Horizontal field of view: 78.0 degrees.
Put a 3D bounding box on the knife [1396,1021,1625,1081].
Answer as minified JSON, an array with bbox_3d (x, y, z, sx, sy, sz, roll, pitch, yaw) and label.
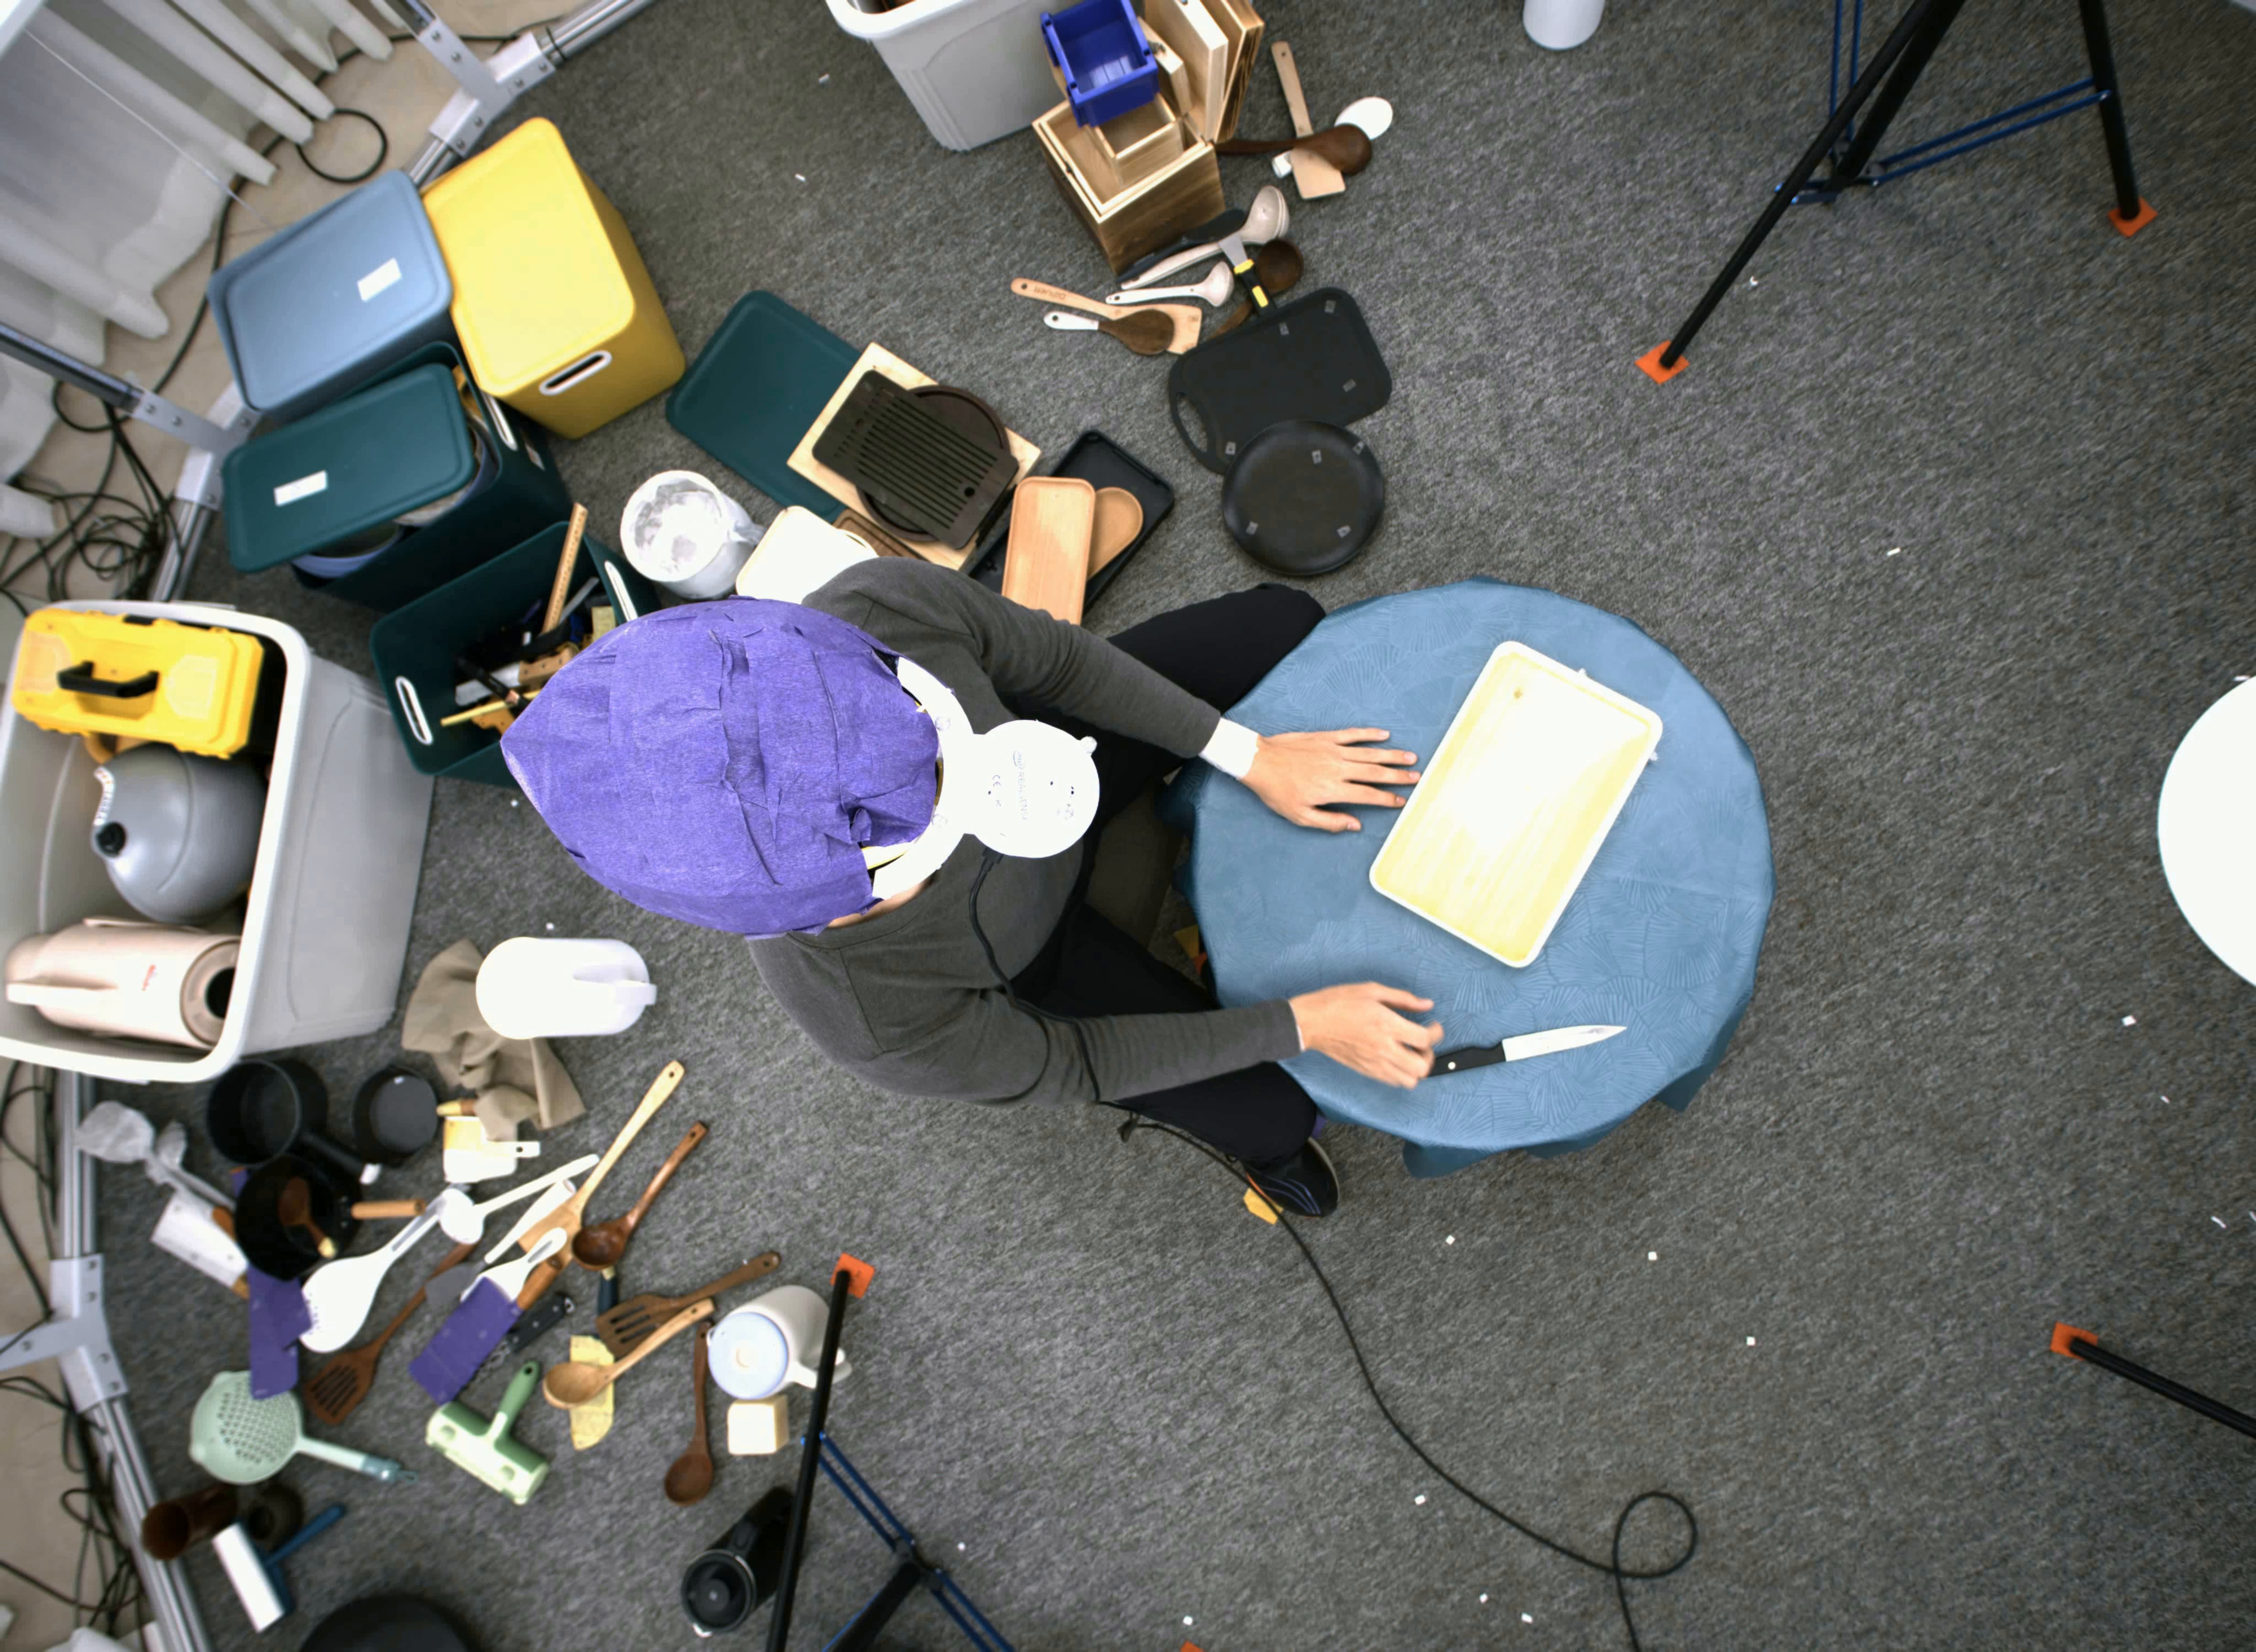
[{"bbox_3d":[0.396,0.229,1.422,0.239,0.016,0.024,-14,86,7],"label":"knife"}]

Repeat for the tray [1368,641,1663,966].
[{"bbox_3d":[0.401,-0.026,1.428,0.191,0.027,0.301,31,93,12],"label":"tray"}]
